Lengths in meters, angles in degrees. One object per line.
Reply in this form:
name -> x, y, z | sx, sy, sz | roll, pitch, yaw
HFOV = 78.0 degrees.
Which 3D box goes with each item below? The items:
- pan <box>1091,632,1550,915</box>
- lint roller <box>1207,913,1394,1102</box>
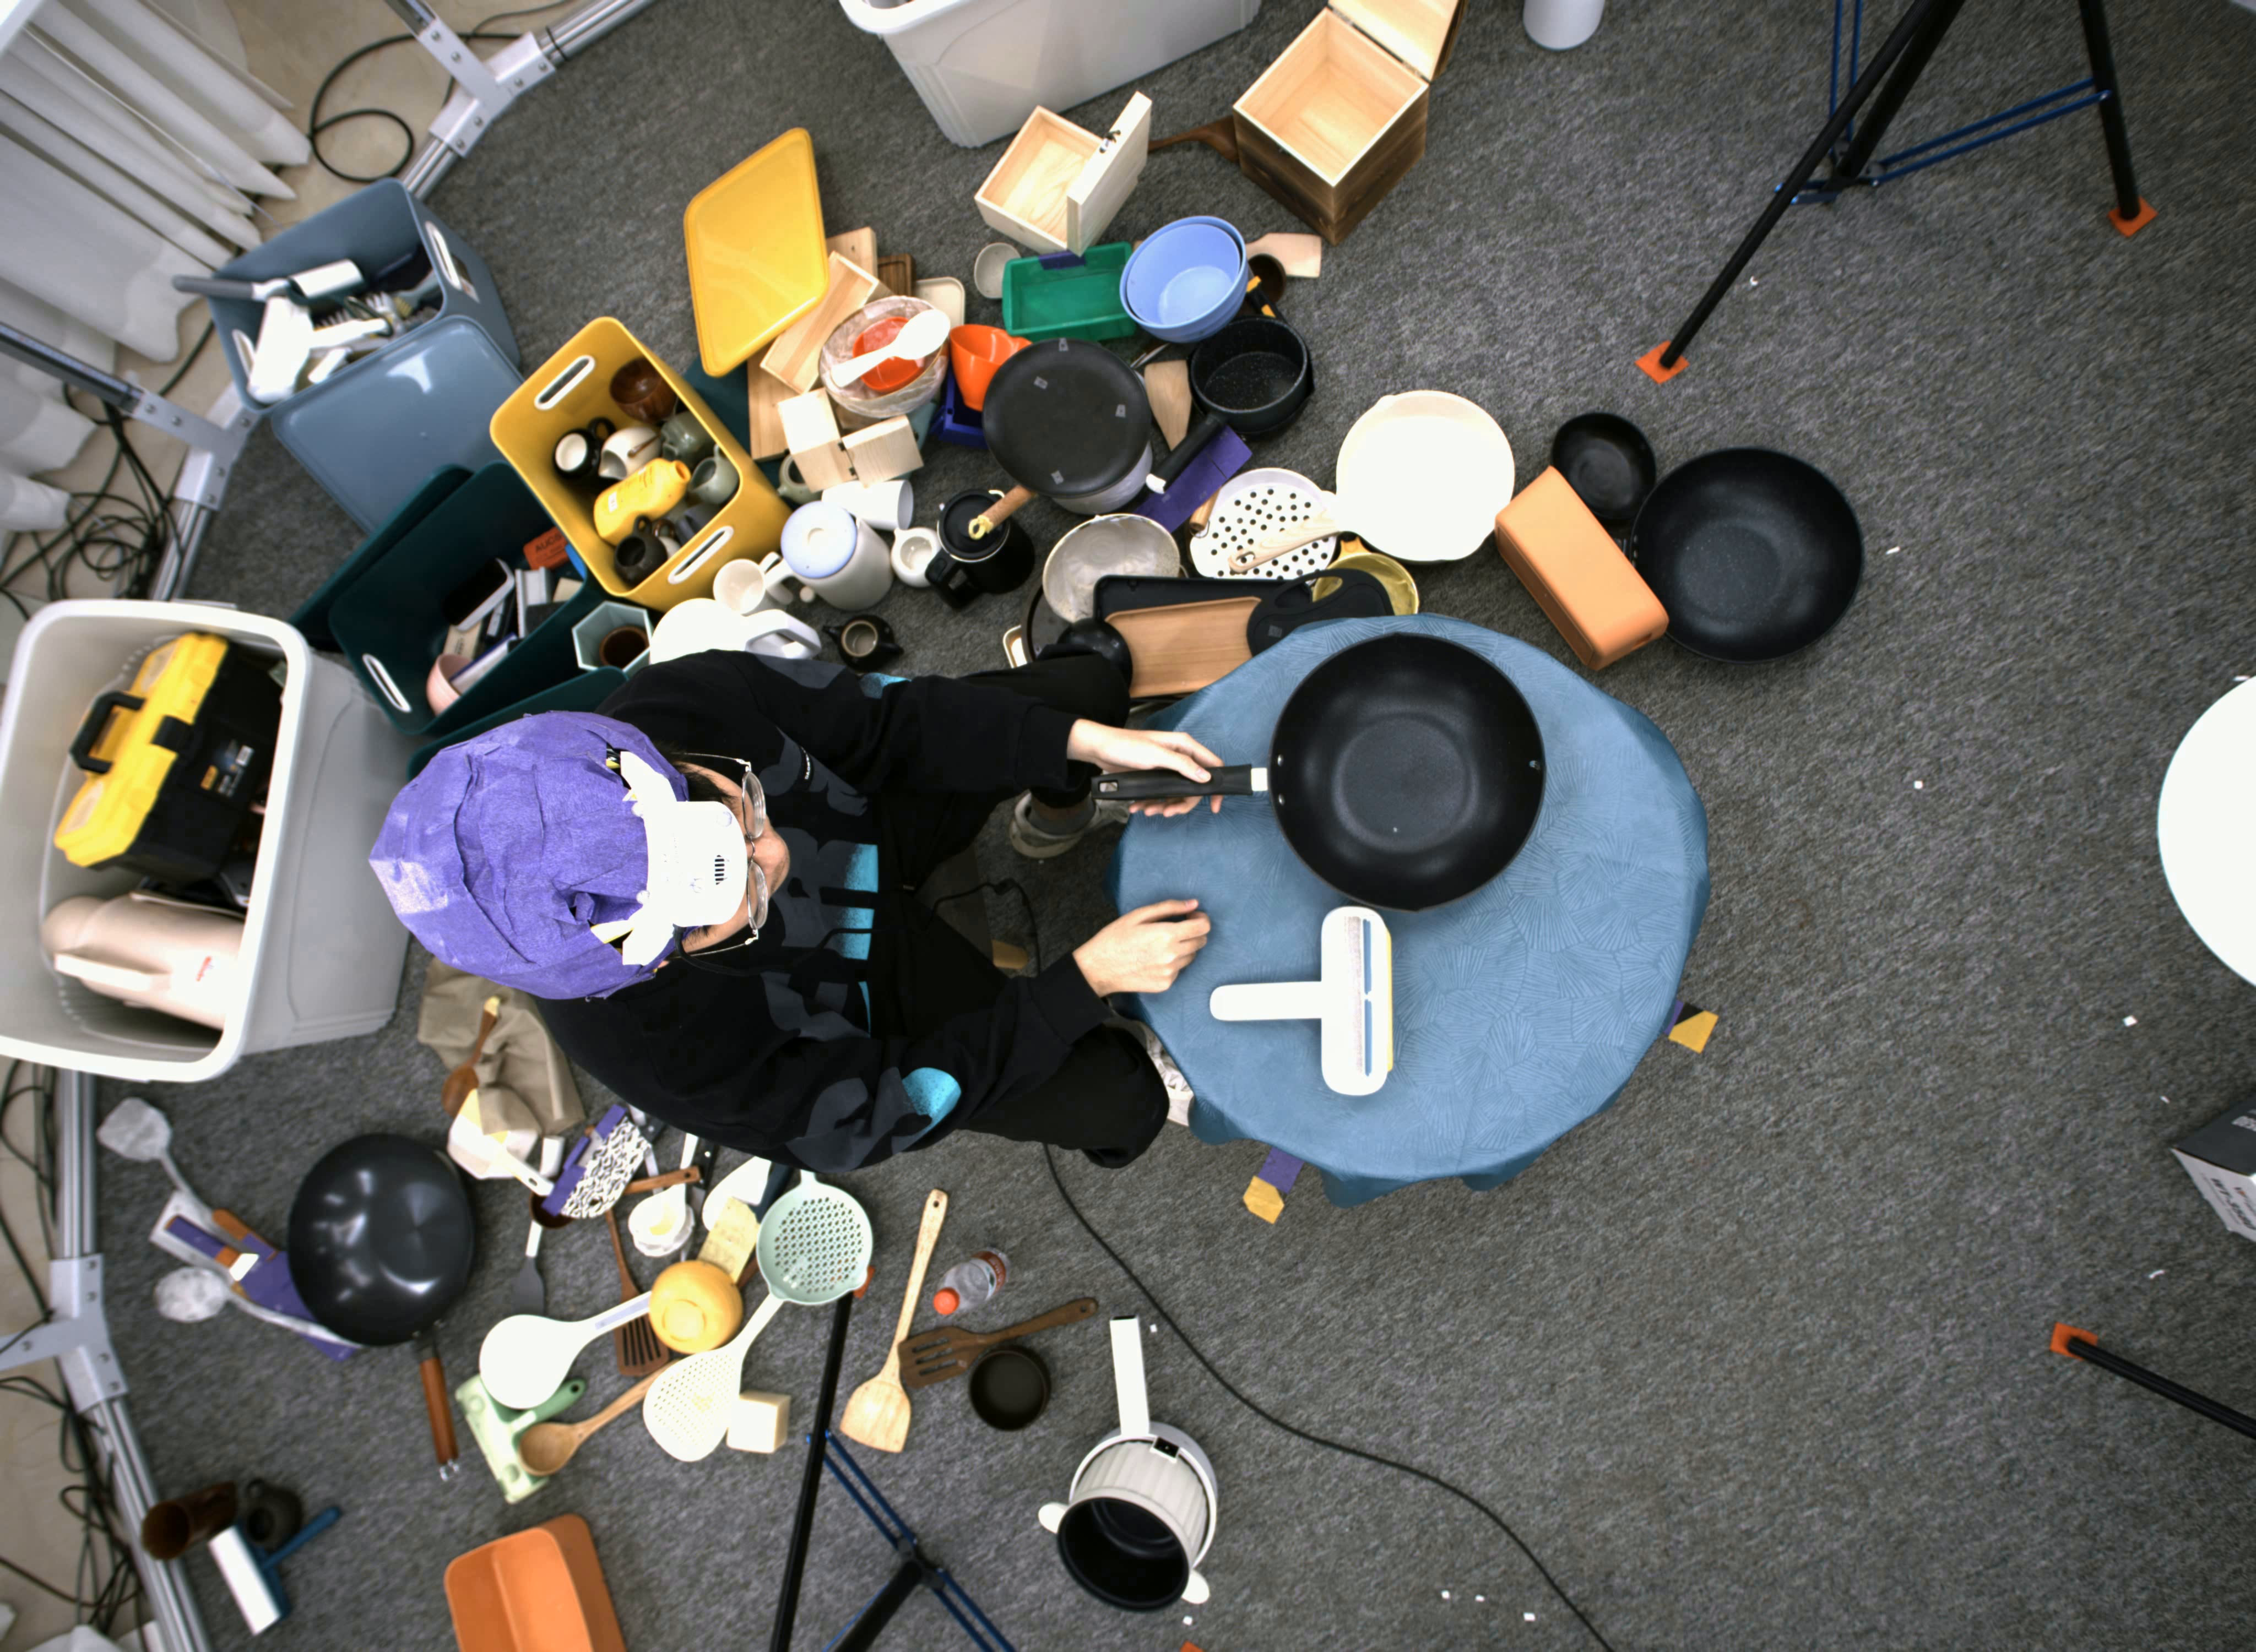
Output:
pan -> 0.195, -0.048, 1.433 | 0.465, 0.087, 0.287 | -3, 86, 10
lint roller -> 0.175, 0.182, 1.433 | 0.193, 0.074, 0.191 | 3, 82, 12
